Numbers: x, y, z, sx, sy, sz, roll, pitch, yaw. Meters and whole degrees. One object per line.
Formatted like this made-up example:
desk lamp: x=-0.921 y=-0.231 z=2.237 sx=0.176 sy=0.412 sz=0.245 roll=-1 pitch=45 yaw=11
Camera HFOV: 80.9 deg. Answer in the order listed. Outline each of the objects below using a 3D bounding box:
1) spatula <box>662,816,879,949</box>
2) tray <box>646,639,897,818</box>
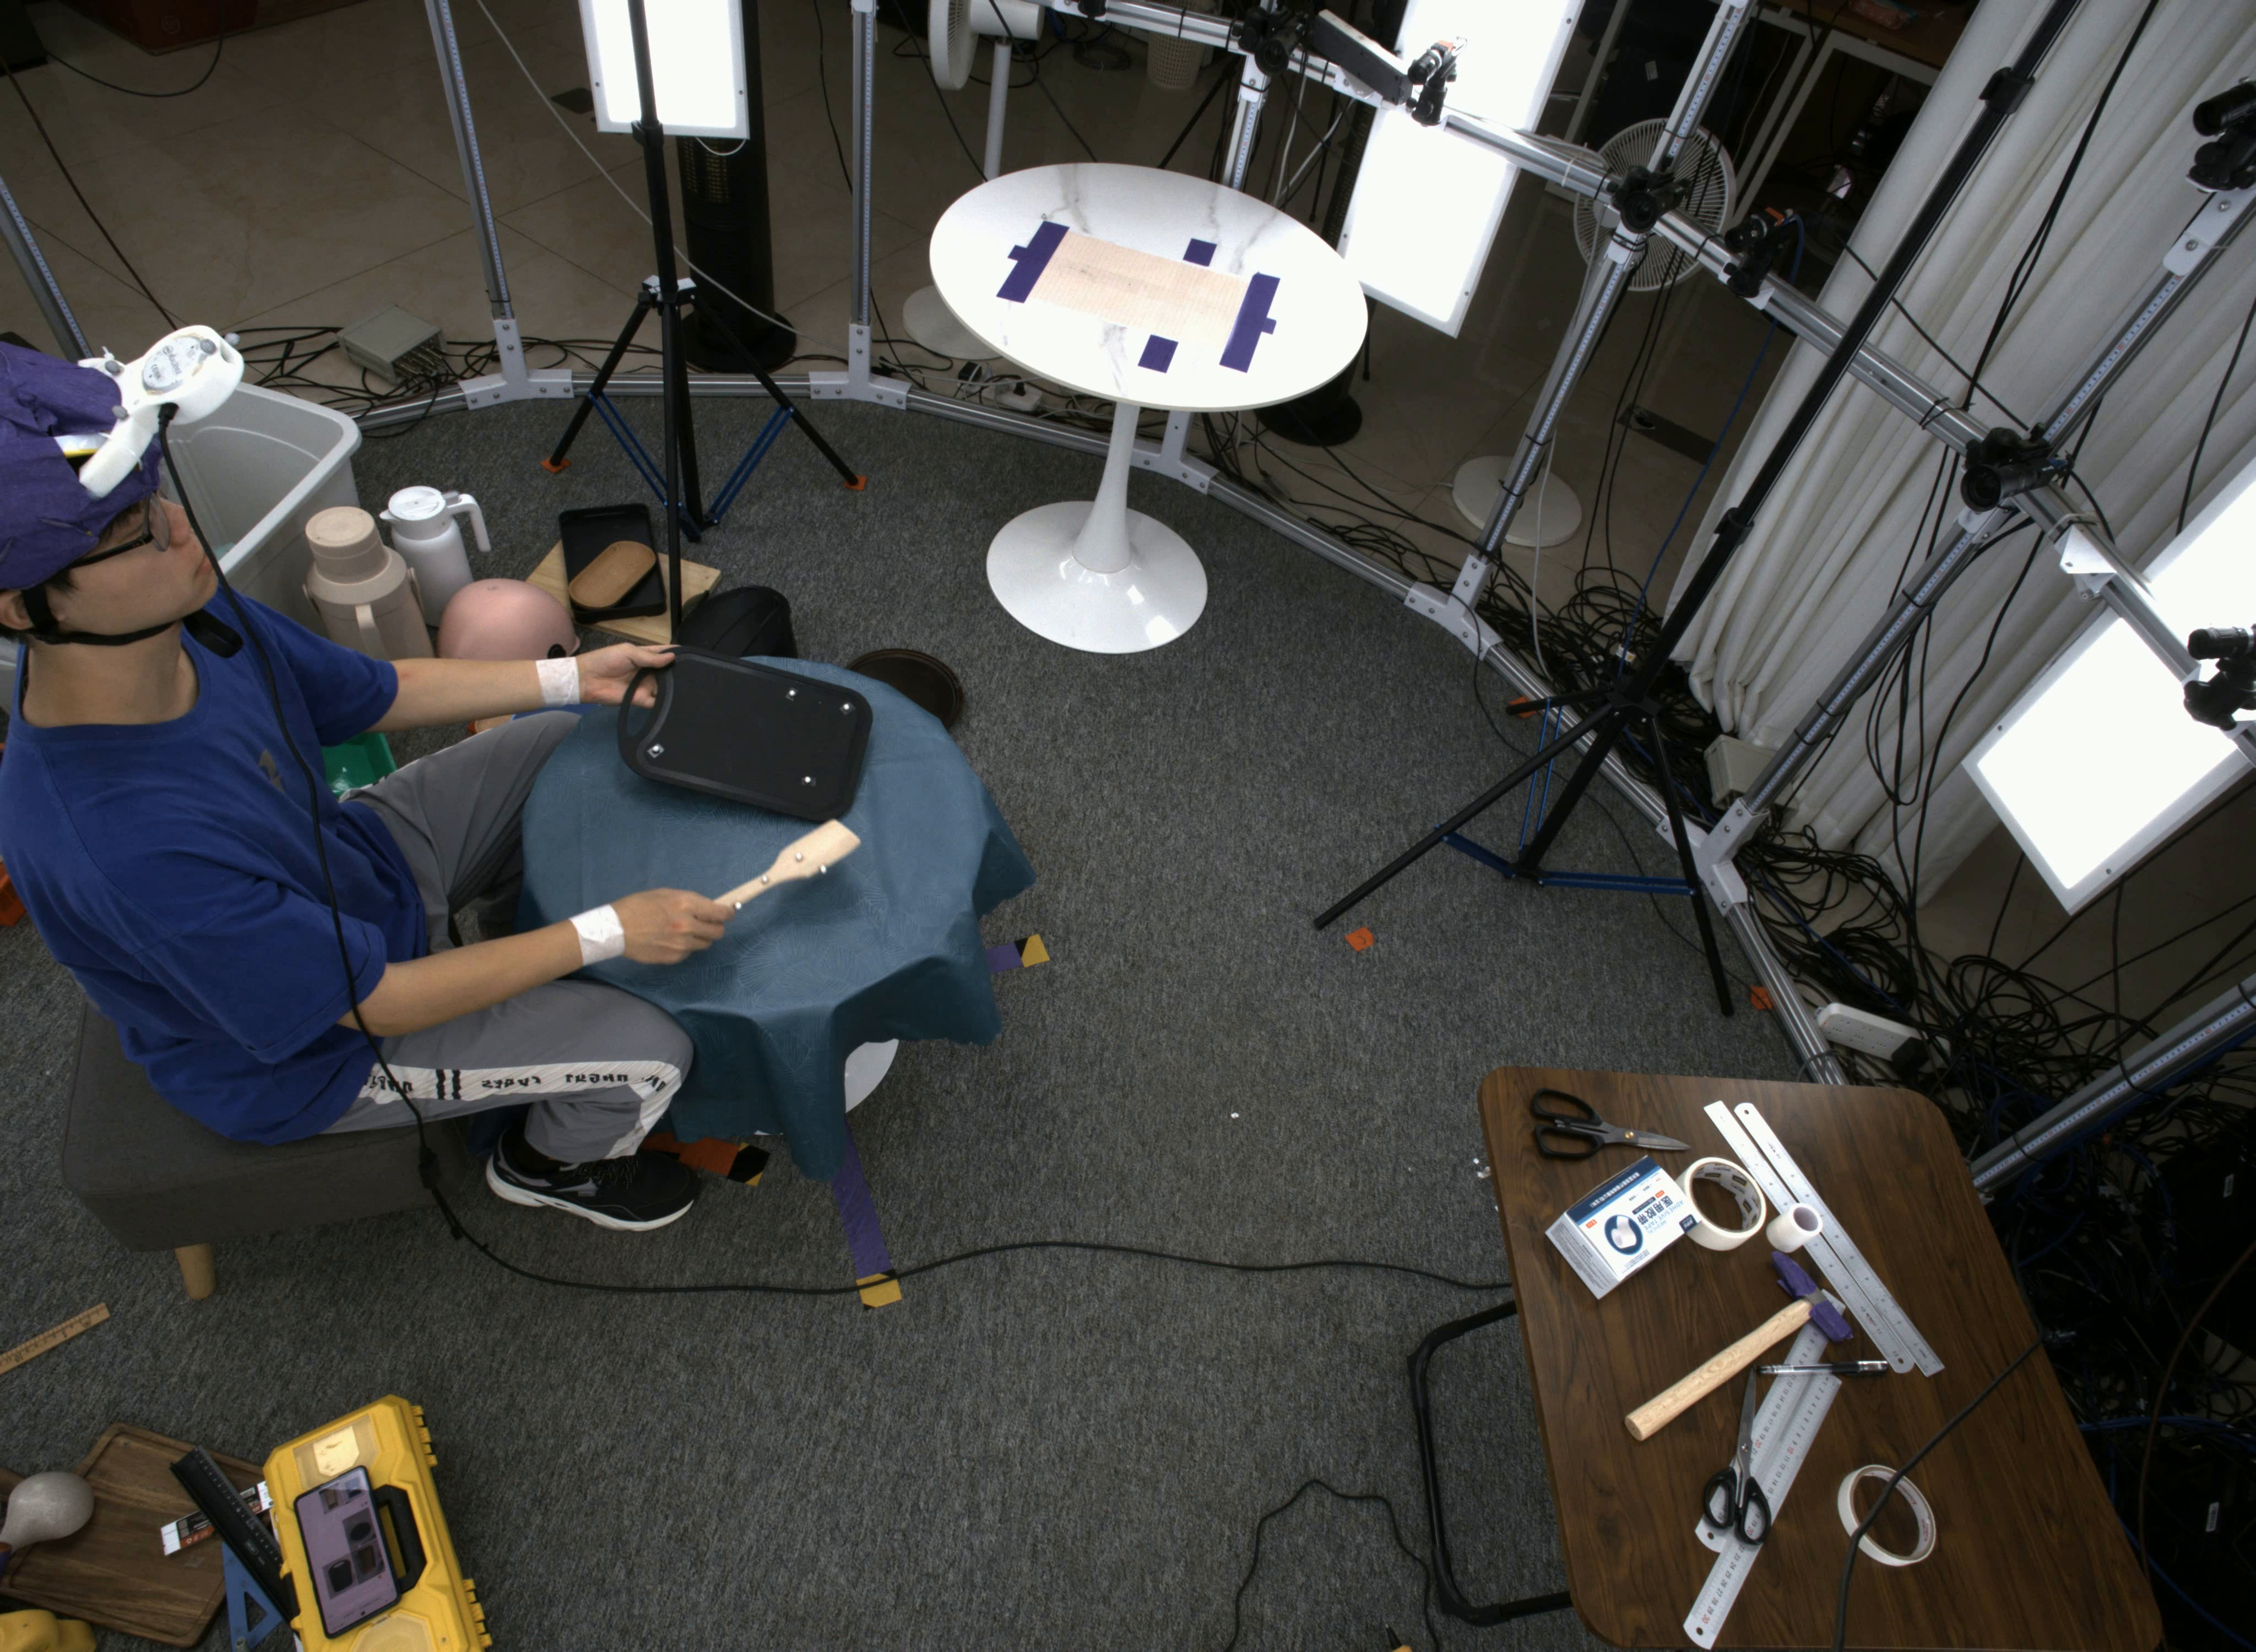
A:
spatula: x=-0.443 y=0.070 z=1.601 sx=0.294 sy=0.011 sz=0.069 roll=-32 pitch=45 yaw=-28
tray: x=-0.487 y=-0.137 z=1.754 sx=0.327 sy=0.010 sz=0.209 roll=17 pitch=64 yaw=-13
